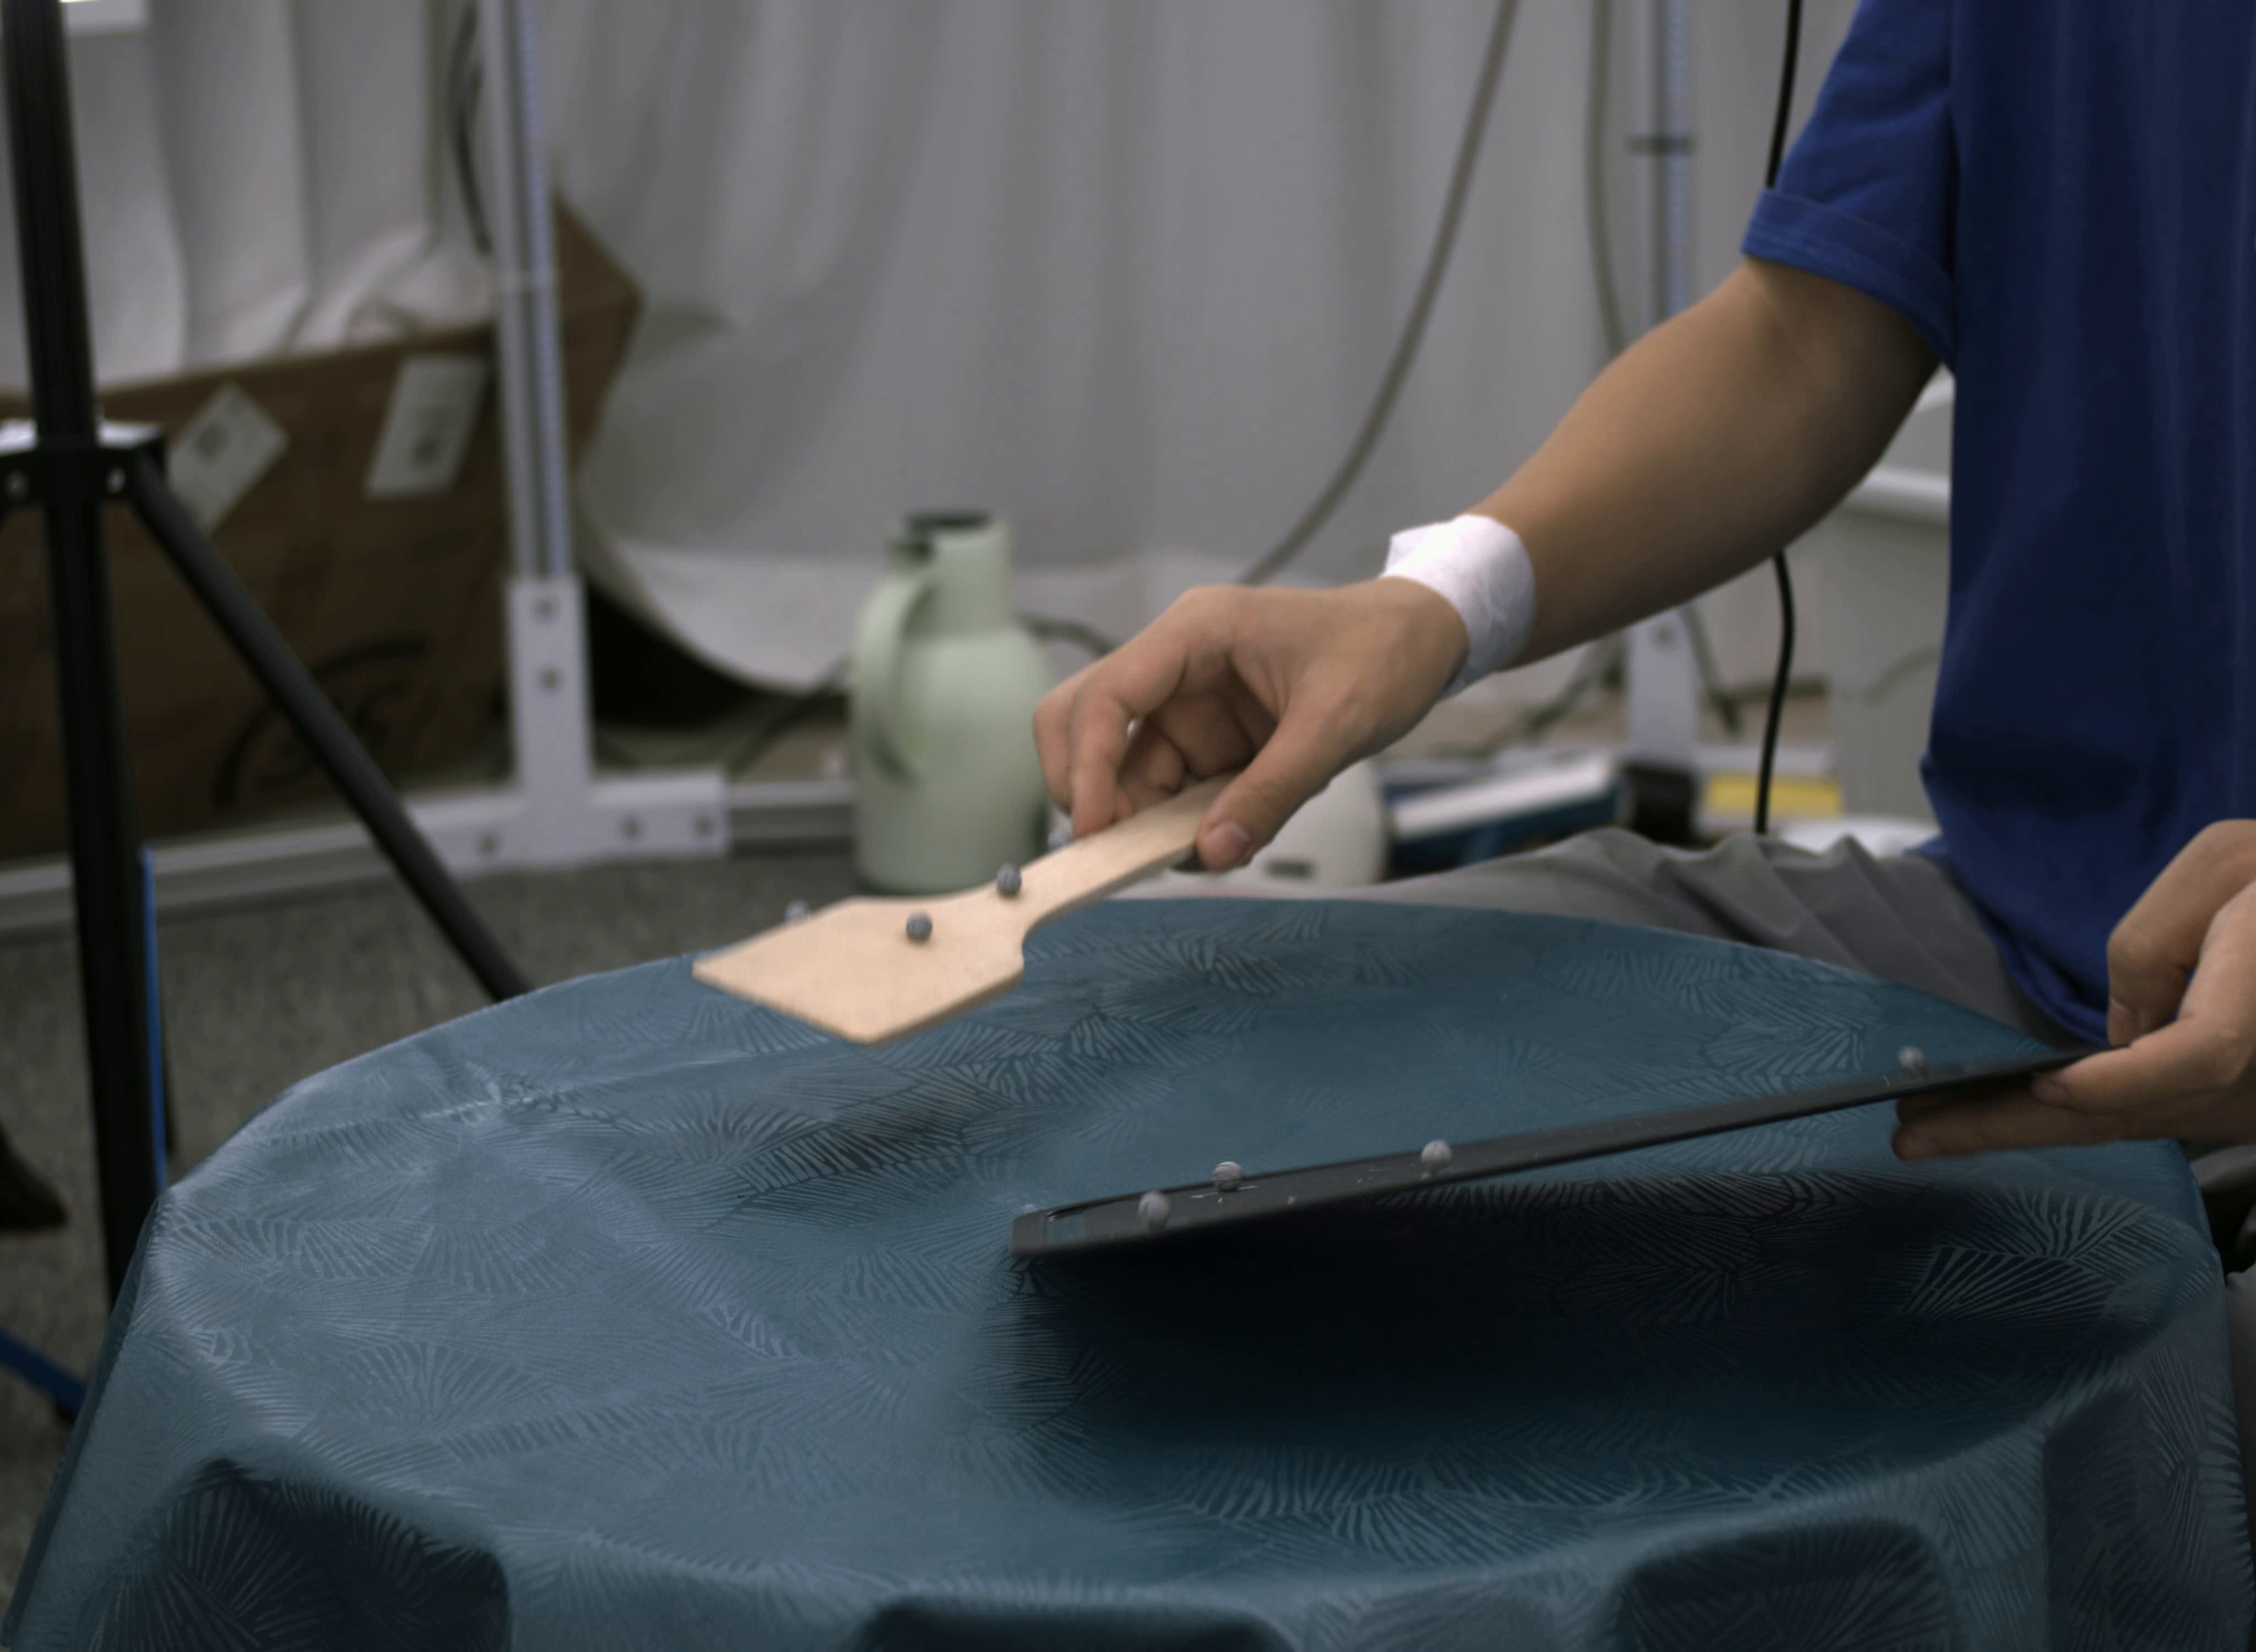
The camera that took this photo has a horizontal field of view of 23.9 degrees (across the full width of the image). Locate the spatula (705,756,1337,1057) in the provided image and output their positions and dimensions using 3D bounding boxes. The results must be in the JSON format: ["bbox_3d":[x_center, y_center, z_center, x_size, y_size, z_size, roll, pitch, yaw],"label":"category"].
[{"bbox_3d":[-0.021,0.020,1.687,0.073,0.010,0.287,18,26,31],"label":"spatula"}]

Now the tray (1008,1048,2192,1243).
[{"bbox_3d":[0.129,0.086,1.444,0.324,0.010,0.210,-8,-2,1],"label":"tray"}]
